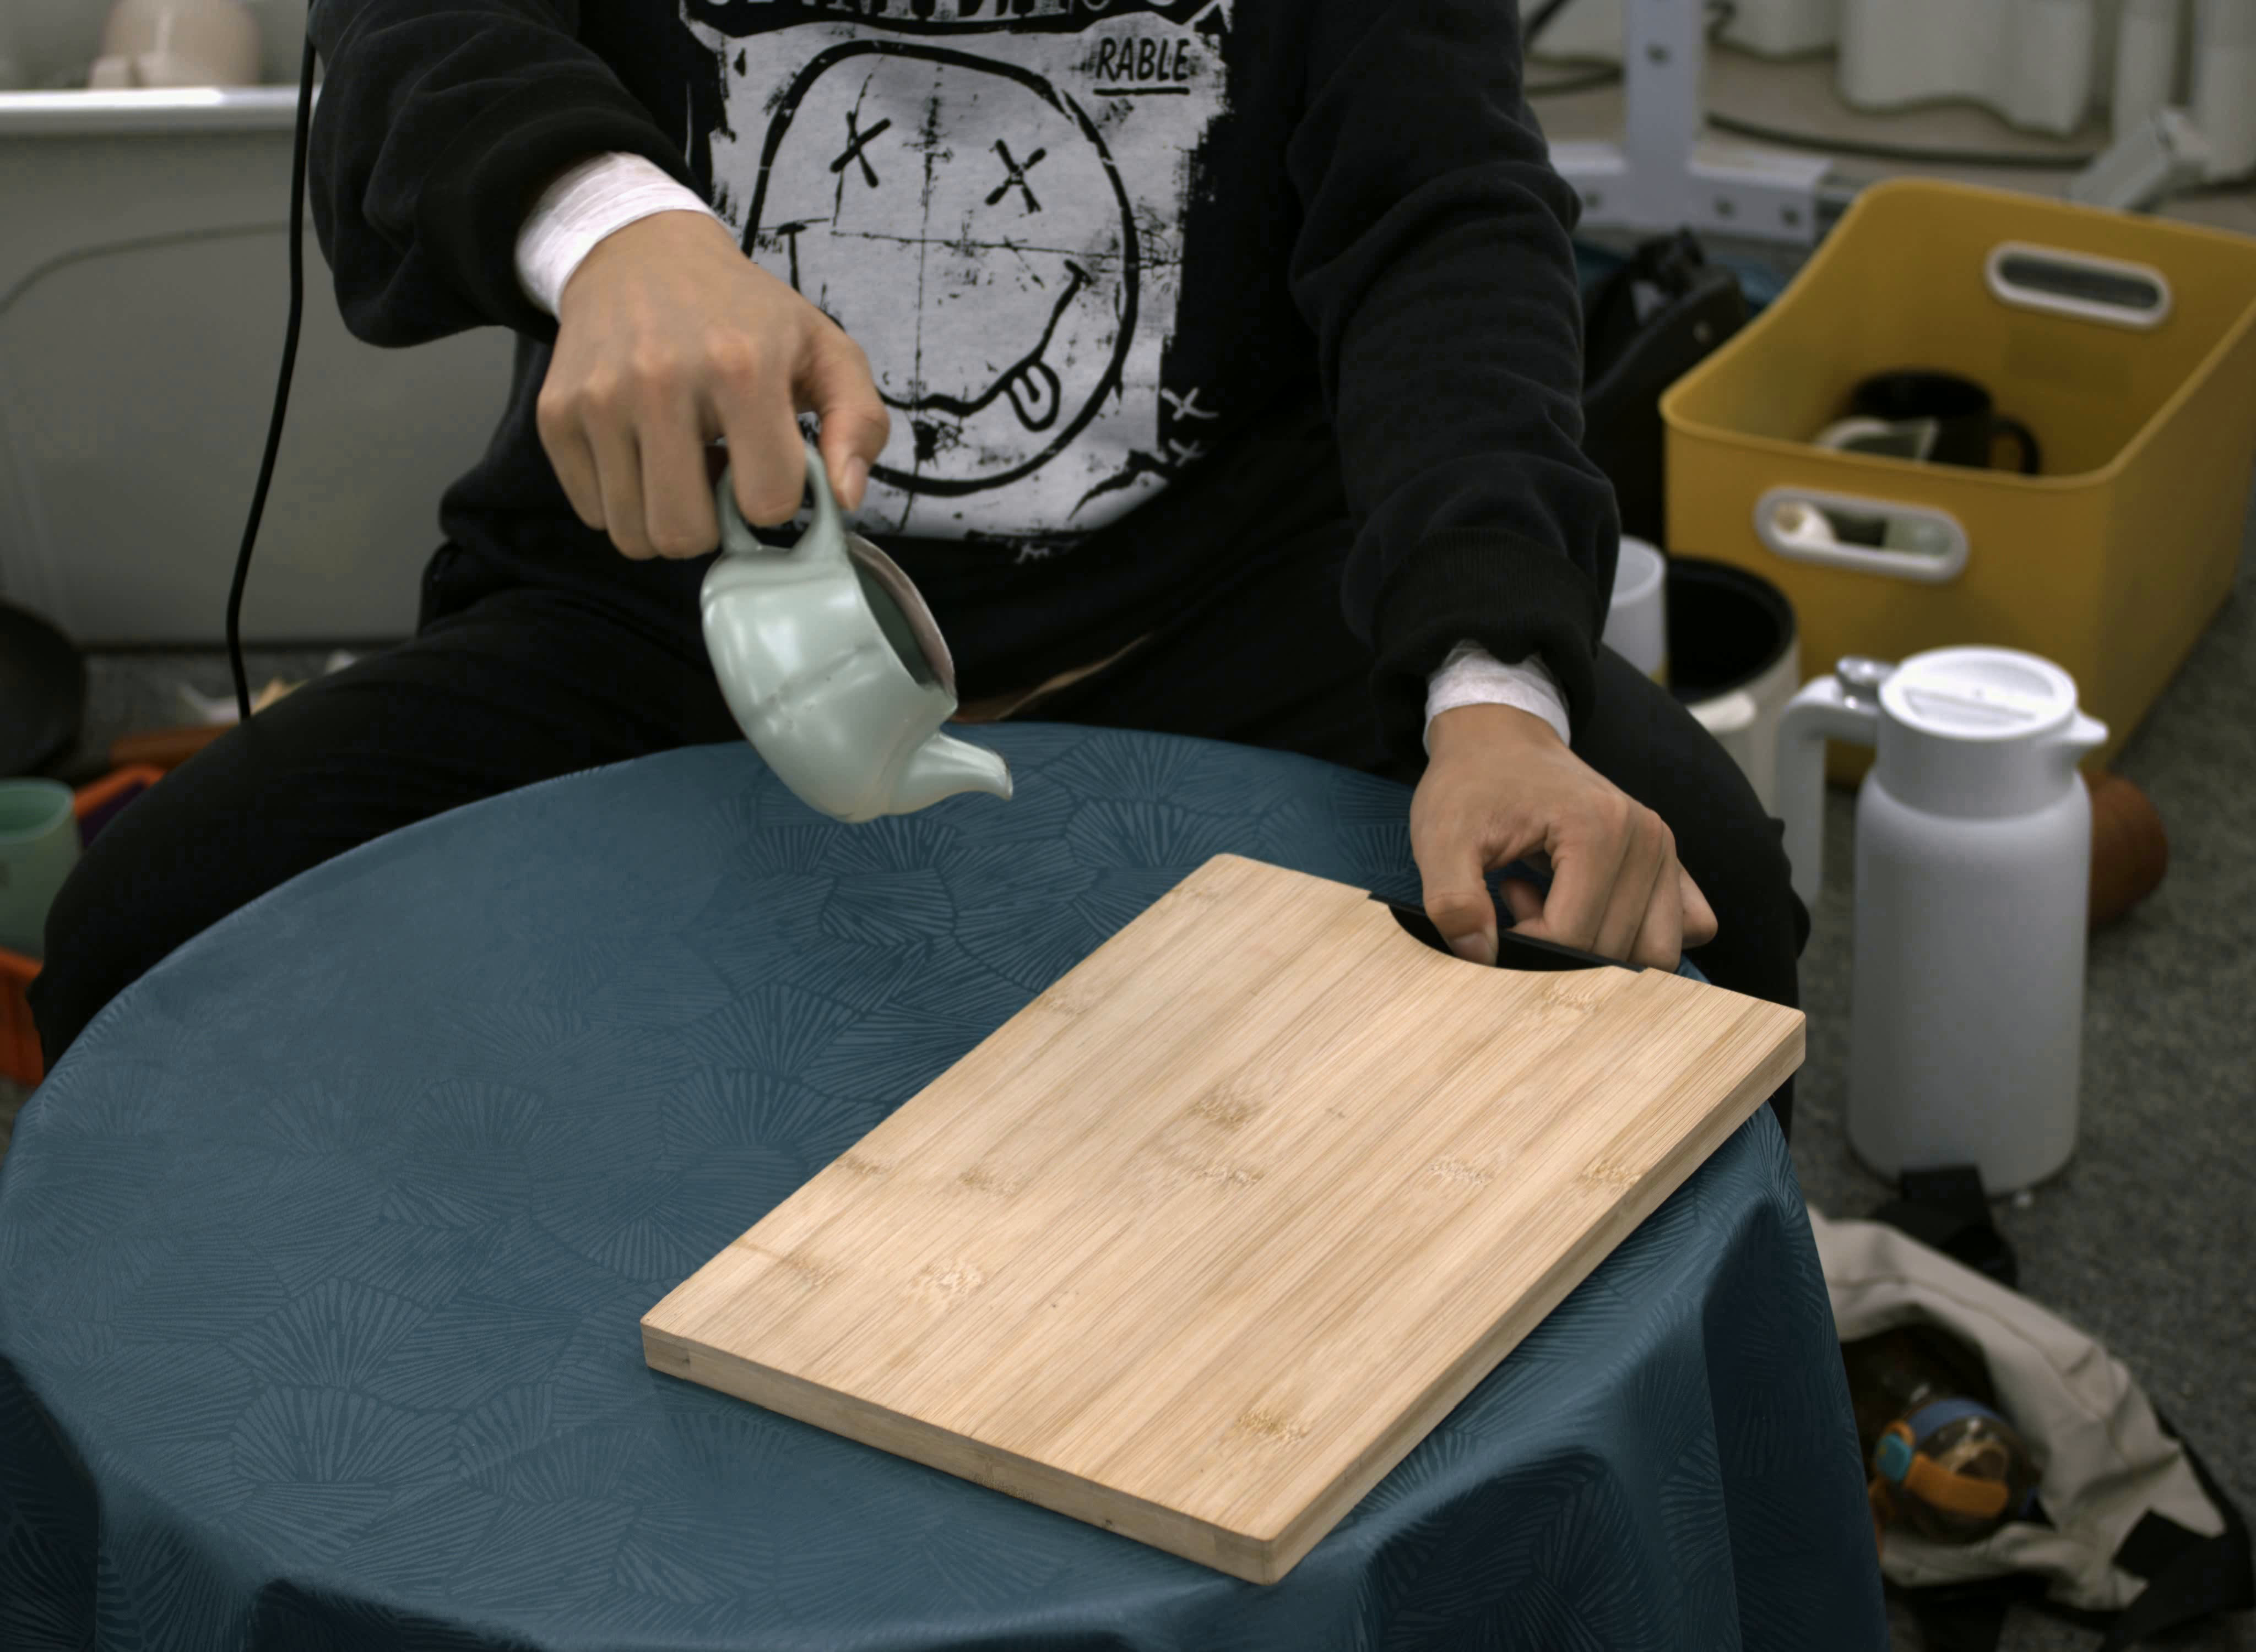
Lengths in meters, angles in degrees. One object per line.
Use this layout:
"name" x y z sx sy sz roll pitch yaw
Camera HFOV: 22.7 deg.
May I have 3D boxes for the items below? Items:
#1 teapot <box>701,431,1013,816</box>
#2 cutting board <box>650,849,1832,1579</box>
"teapot" -0.093 -0.057 1.760 0.061 0.136 0.097 -27 10 14
"cutting board" 0.041 0.116 1.840 0.249 0.023 0.354 14 33 30
